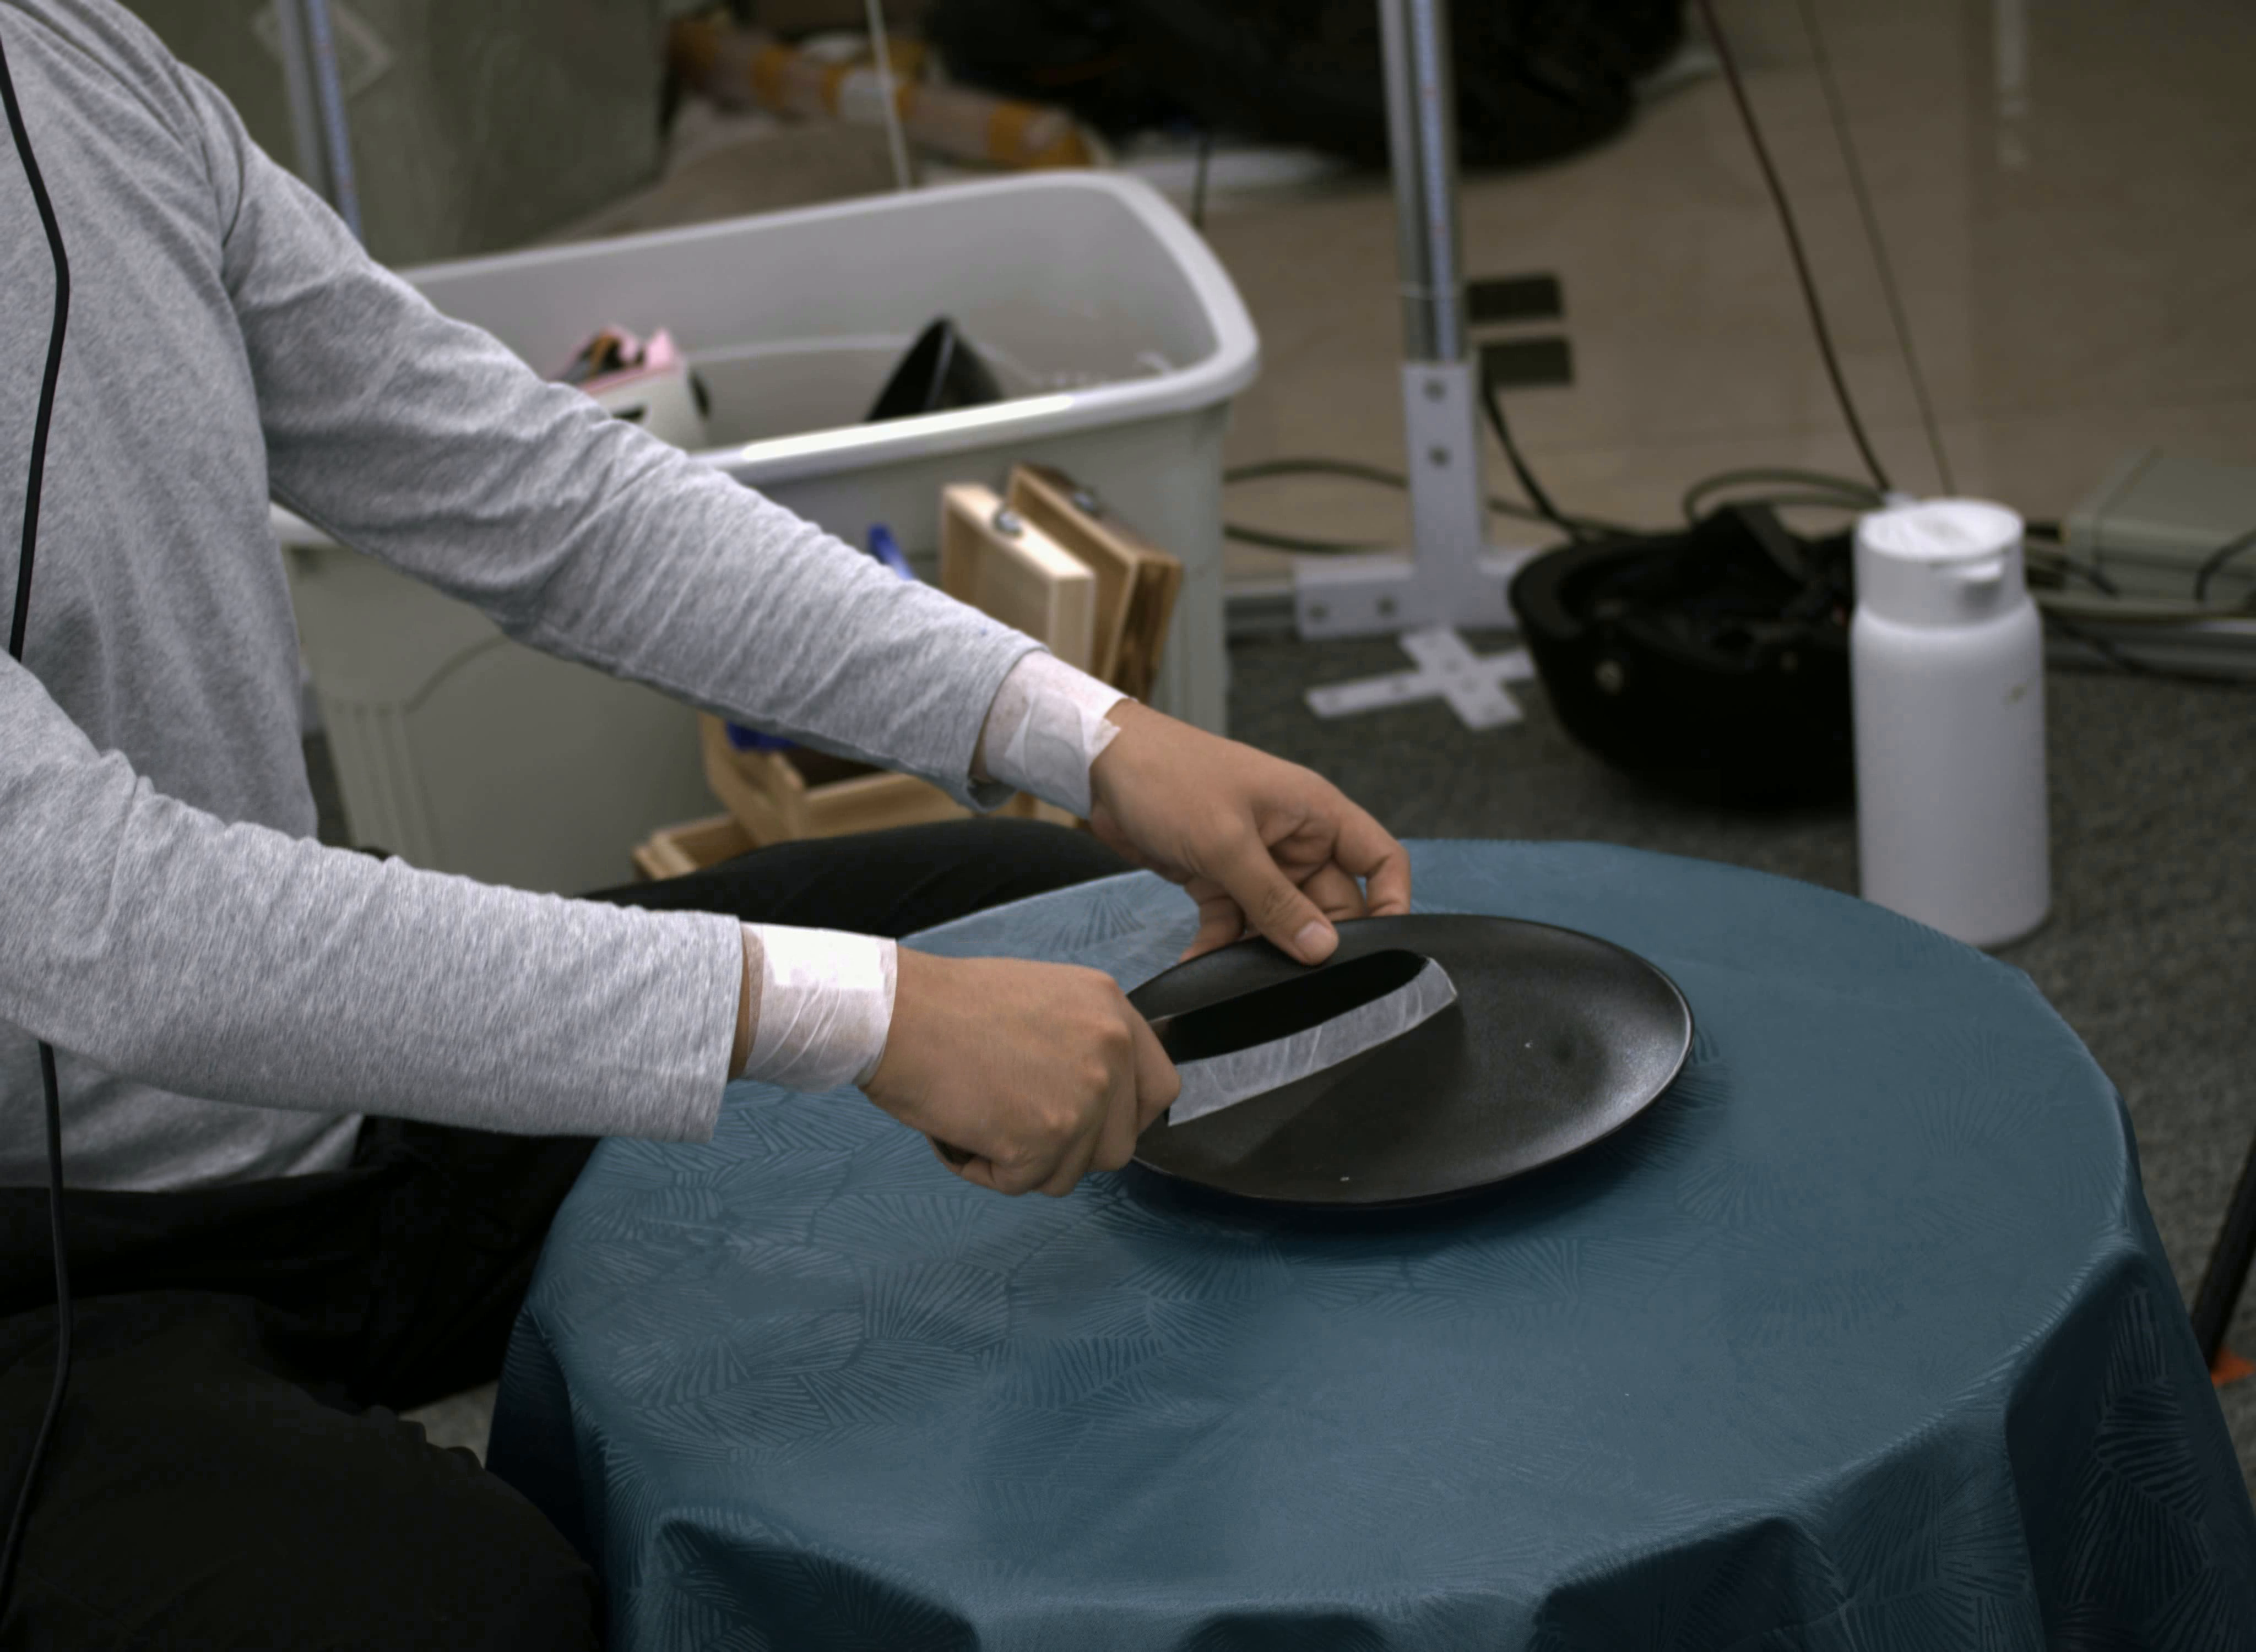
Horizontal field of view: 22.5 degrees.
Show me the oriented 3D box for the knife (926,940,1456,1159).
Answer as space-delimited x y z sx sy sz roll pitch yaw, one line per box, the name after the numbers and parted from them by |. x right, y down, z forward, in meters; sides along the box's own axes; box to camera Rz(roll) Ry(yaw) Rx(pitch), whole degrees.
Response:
0.030 0.085 2.144 0.020 0.051 0.288 21 23 40 | knife

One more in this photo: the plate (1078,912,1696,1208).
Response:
0.099 0.095 2.194 0.244 0.024 0.241 -6 25 3 | plate
